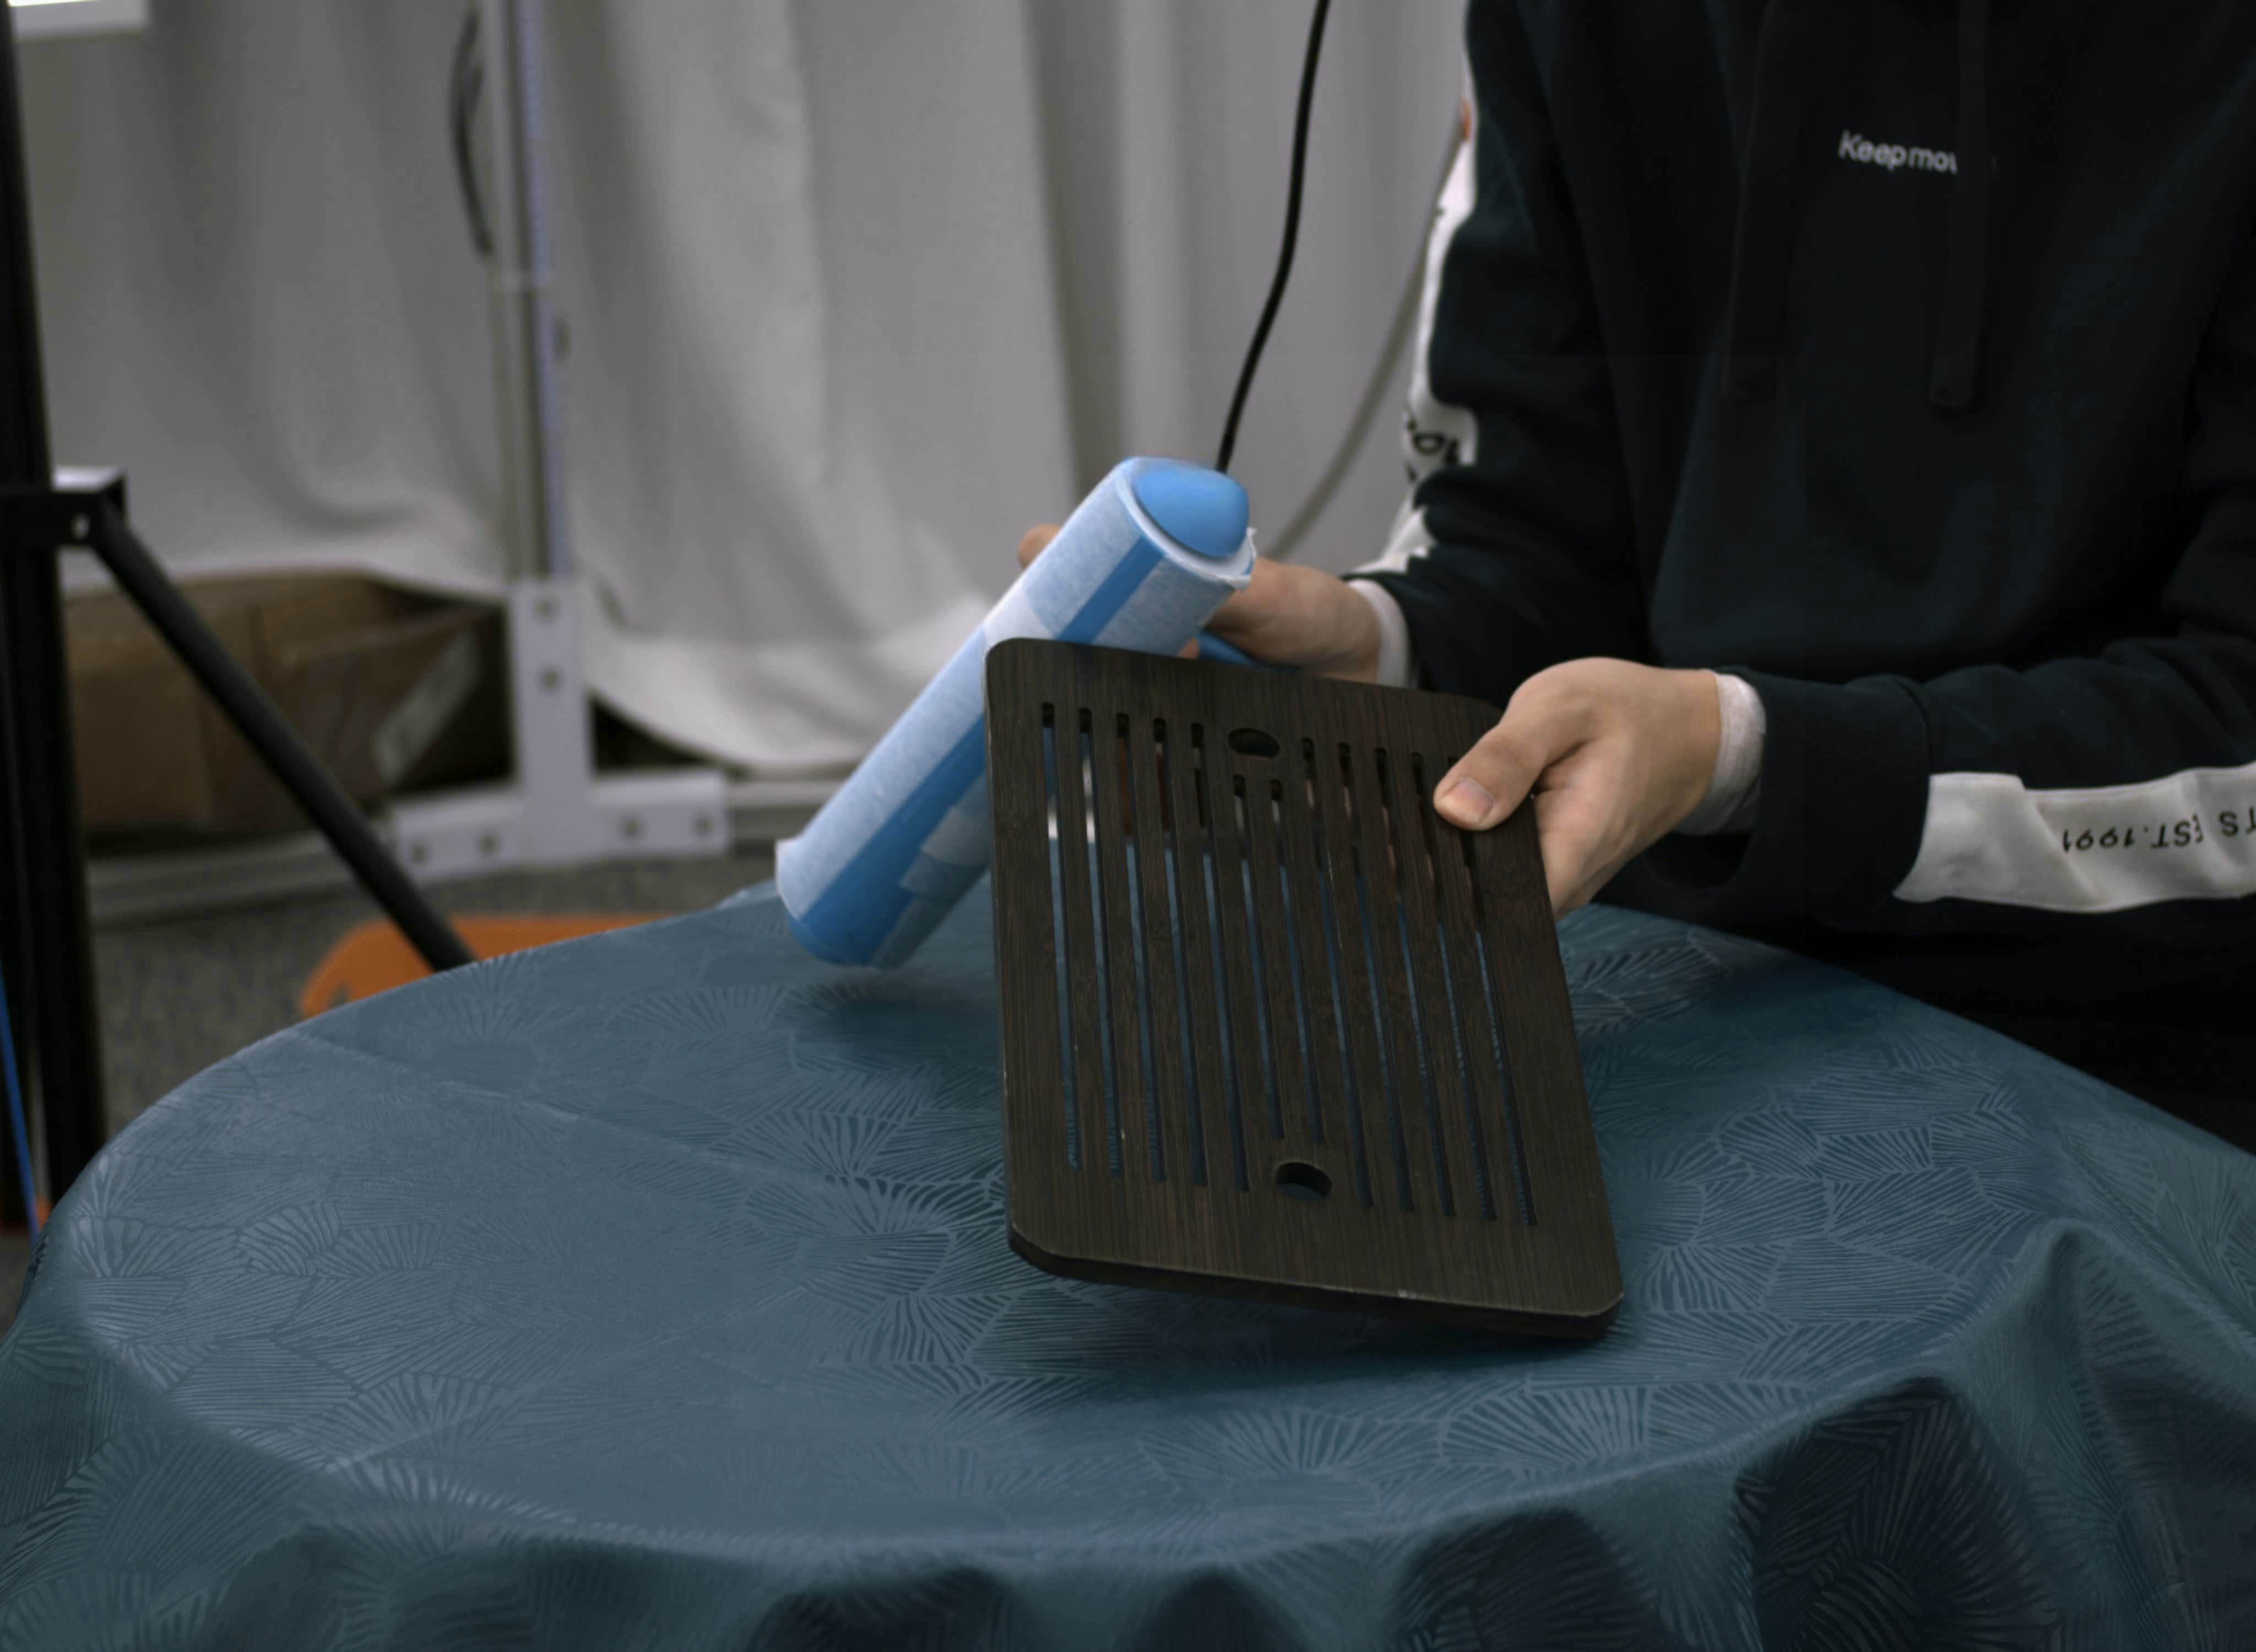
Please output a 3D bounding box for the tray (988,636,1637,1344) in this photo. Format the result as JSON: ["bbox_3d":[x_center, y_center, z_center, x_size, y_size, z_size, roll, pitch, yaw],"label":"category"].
[{"bbox_3d":[0.046,0.043,1.535,0.168,0.018,0.309,7,34,-7],"label":"tray"}]

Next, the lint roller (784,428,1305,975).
[{"bbox_3d":[-0.006,-0.042,1.753,0.069,0.231,0.176,50,29,17],"label":"lint roller"}]
